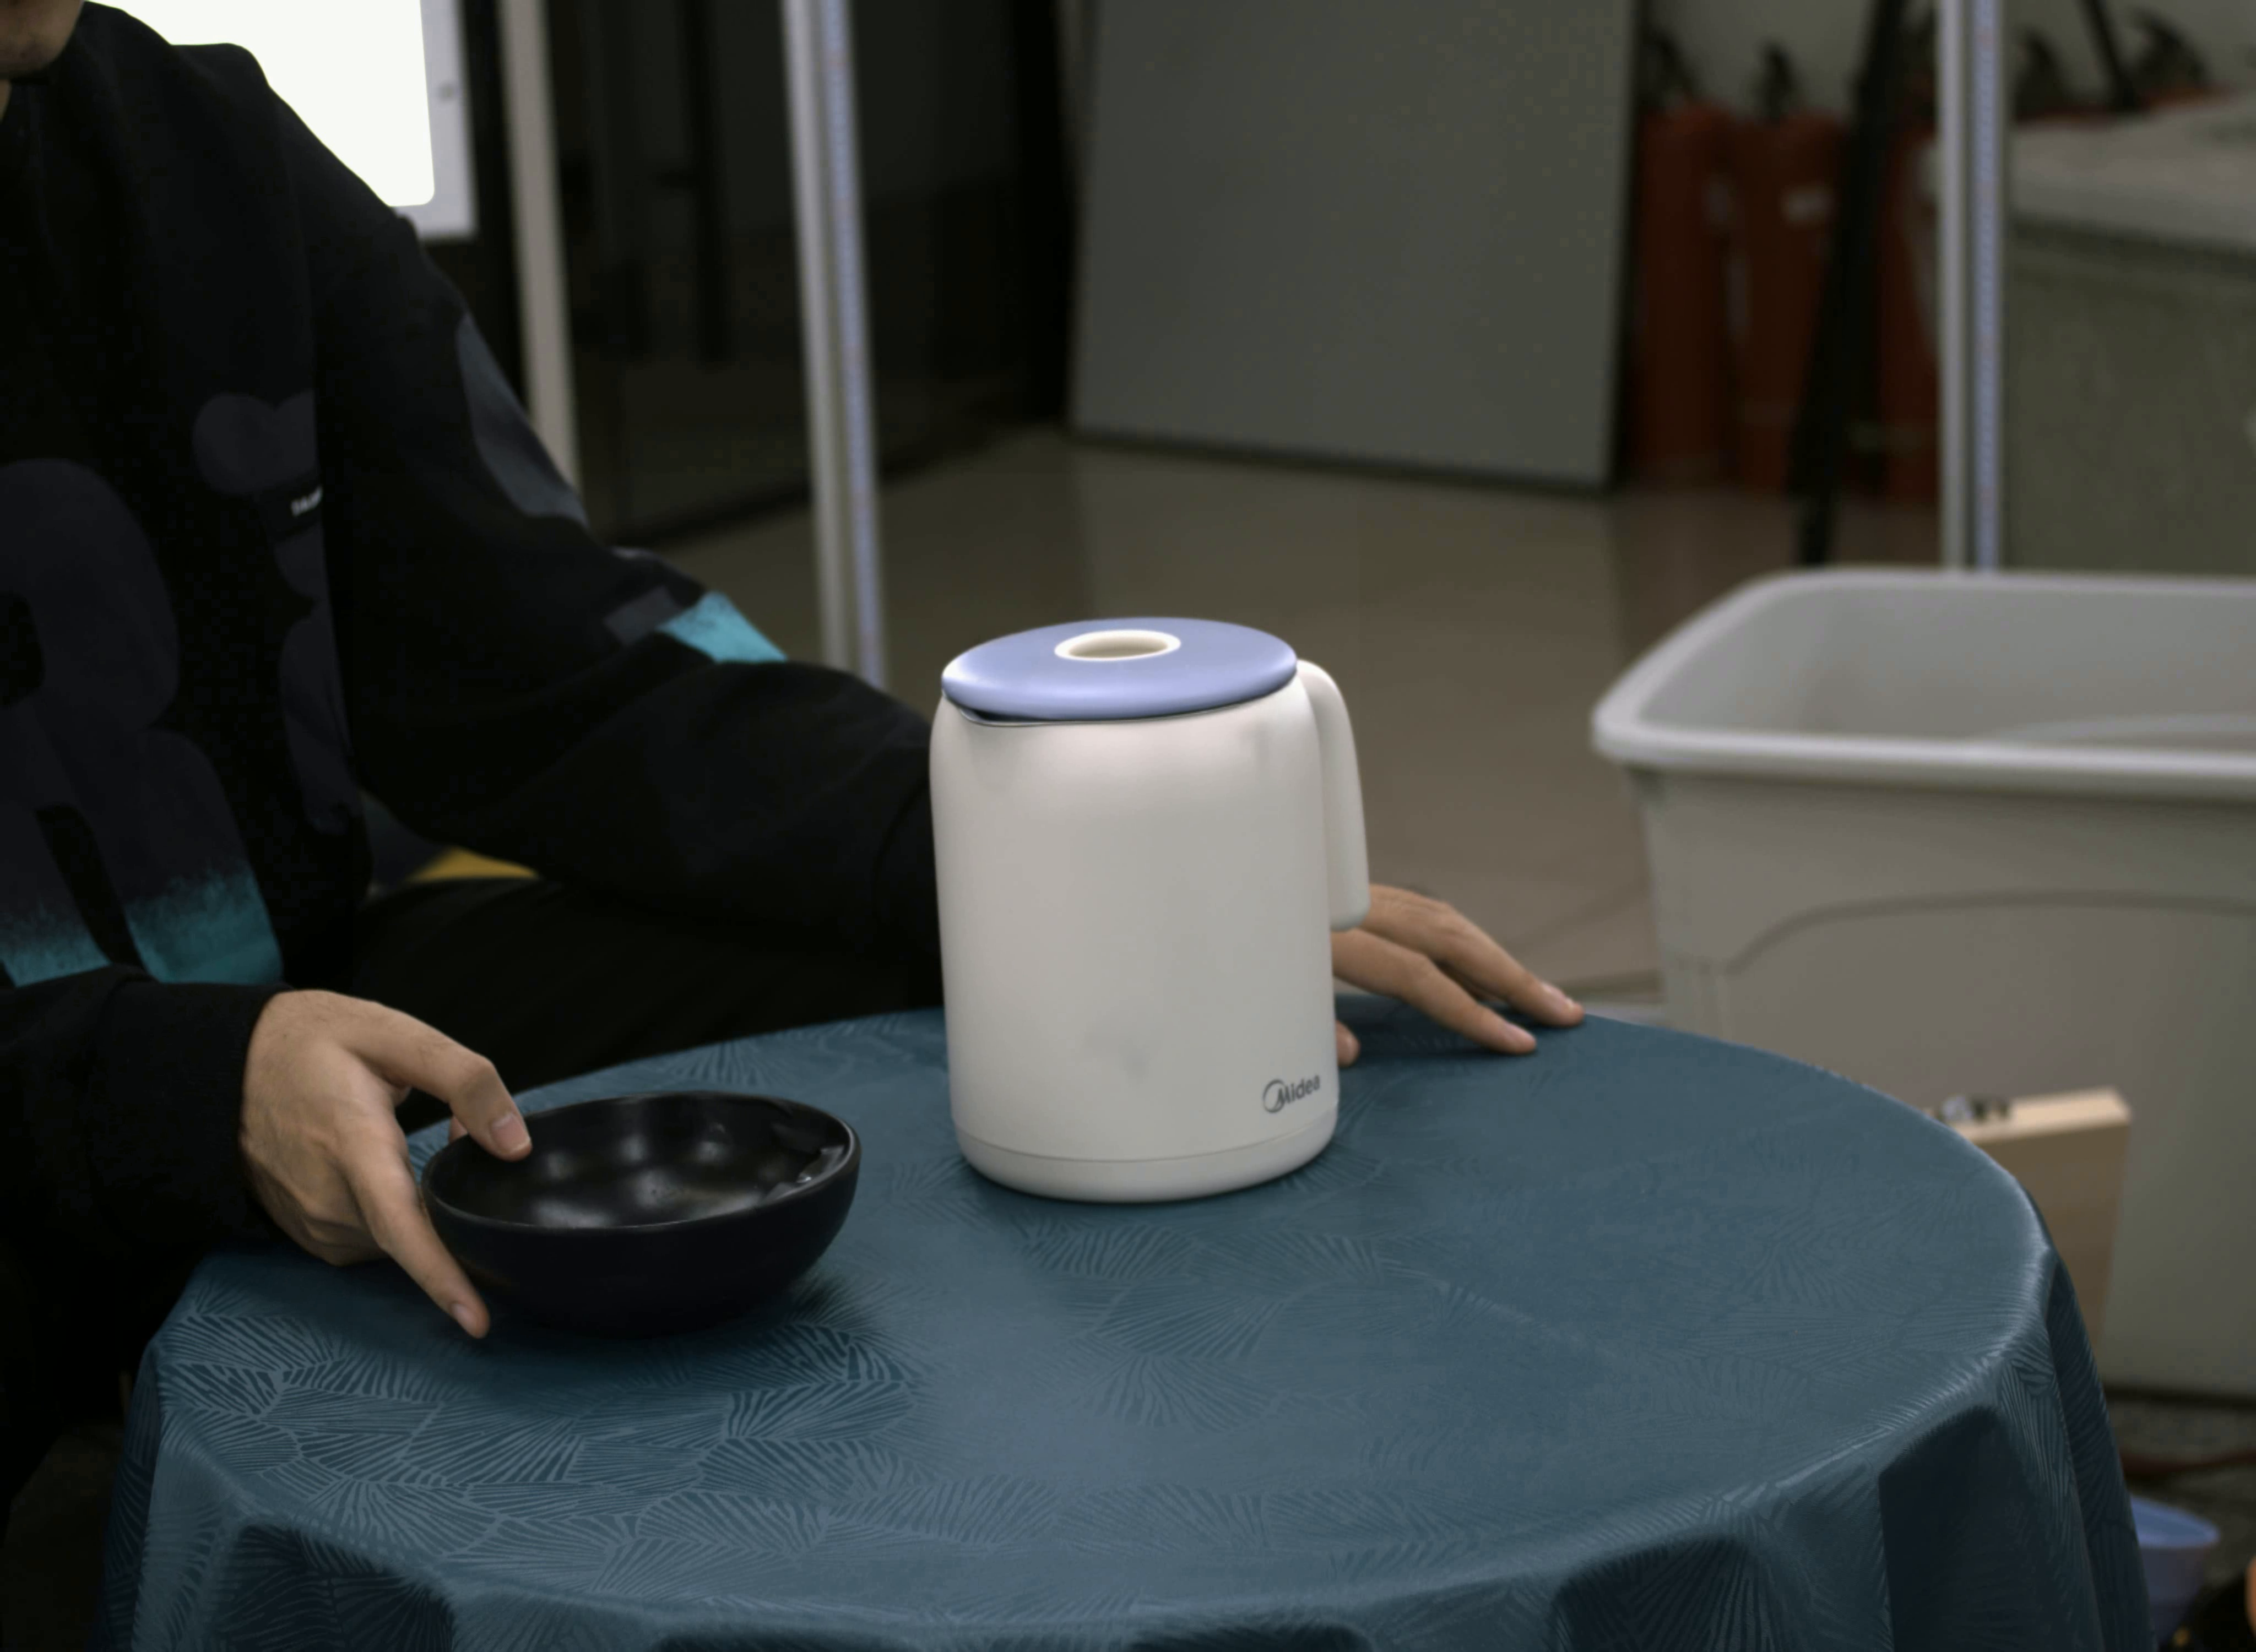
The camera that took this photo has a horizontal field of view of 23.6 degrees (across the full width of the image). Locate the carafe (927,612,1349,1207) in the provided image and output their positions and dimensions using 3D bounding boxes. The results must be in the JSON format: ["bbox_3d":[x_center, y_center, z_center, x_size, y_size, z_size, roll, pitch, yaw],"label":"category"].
[{"bbox_3d":[0.016,0.022,1.811,0.133,0.184,0.187,9,16,39],"label":"carafe"}]

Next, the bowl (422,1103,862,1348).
[{"bbox_3d":[-0.149,0.128,1.687,0.138,0.050,0.140,-5,12,0],"label":"bowl"}]
